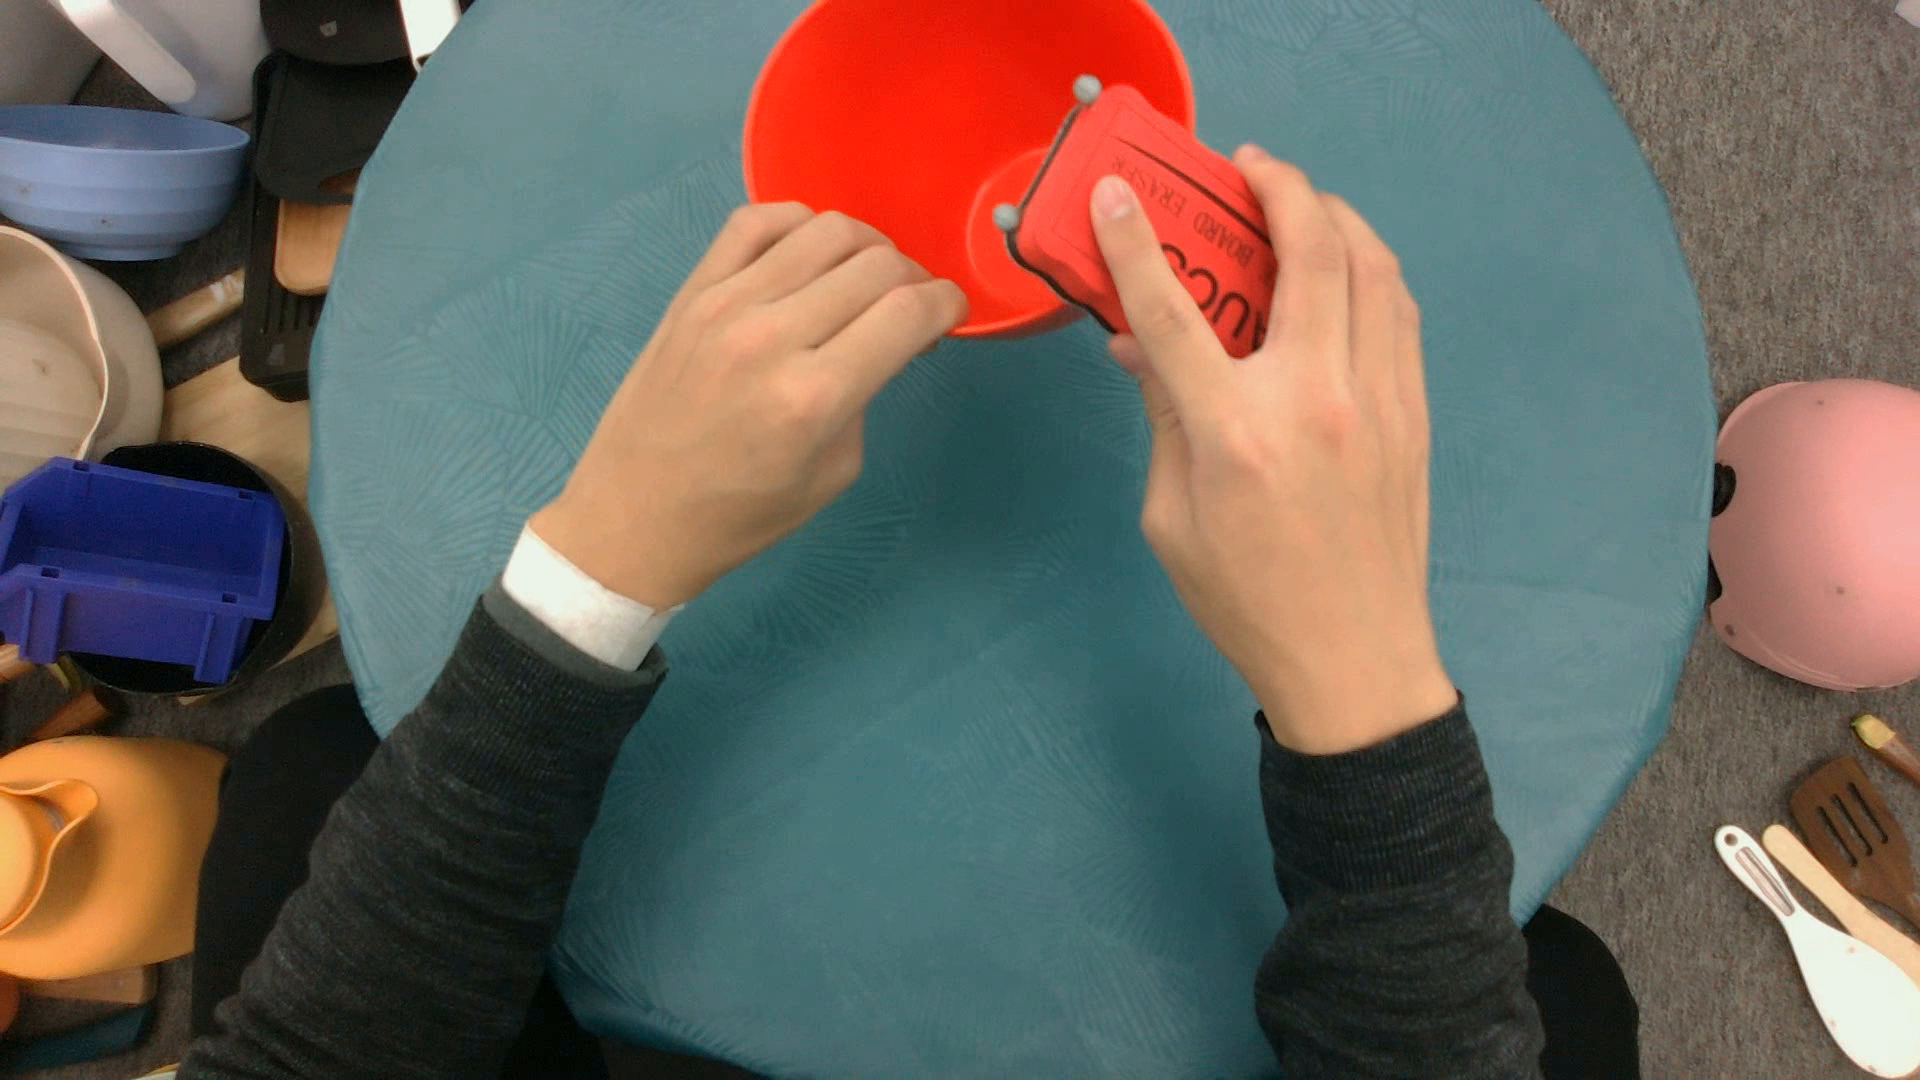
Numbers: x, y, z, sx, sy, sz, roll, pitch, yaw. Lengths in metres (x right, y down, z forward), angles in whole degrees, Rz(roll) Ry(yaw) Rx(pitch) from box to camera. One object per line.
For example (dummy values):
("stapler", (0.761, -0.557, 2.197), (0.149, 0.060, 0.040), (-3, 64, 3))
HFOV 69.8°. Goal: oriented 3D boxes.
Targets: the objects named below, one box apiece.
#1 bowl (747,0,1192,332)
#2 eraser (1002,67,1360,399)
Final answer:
("bowl", (0.012, -0.129, 0.494), (0.148, 0.104, 0.148), (-4, 76, 15))
("eraser", (0.069, -0.092, 0.422), (0.108, 0.023, 0.059), (30, 79, -20))
